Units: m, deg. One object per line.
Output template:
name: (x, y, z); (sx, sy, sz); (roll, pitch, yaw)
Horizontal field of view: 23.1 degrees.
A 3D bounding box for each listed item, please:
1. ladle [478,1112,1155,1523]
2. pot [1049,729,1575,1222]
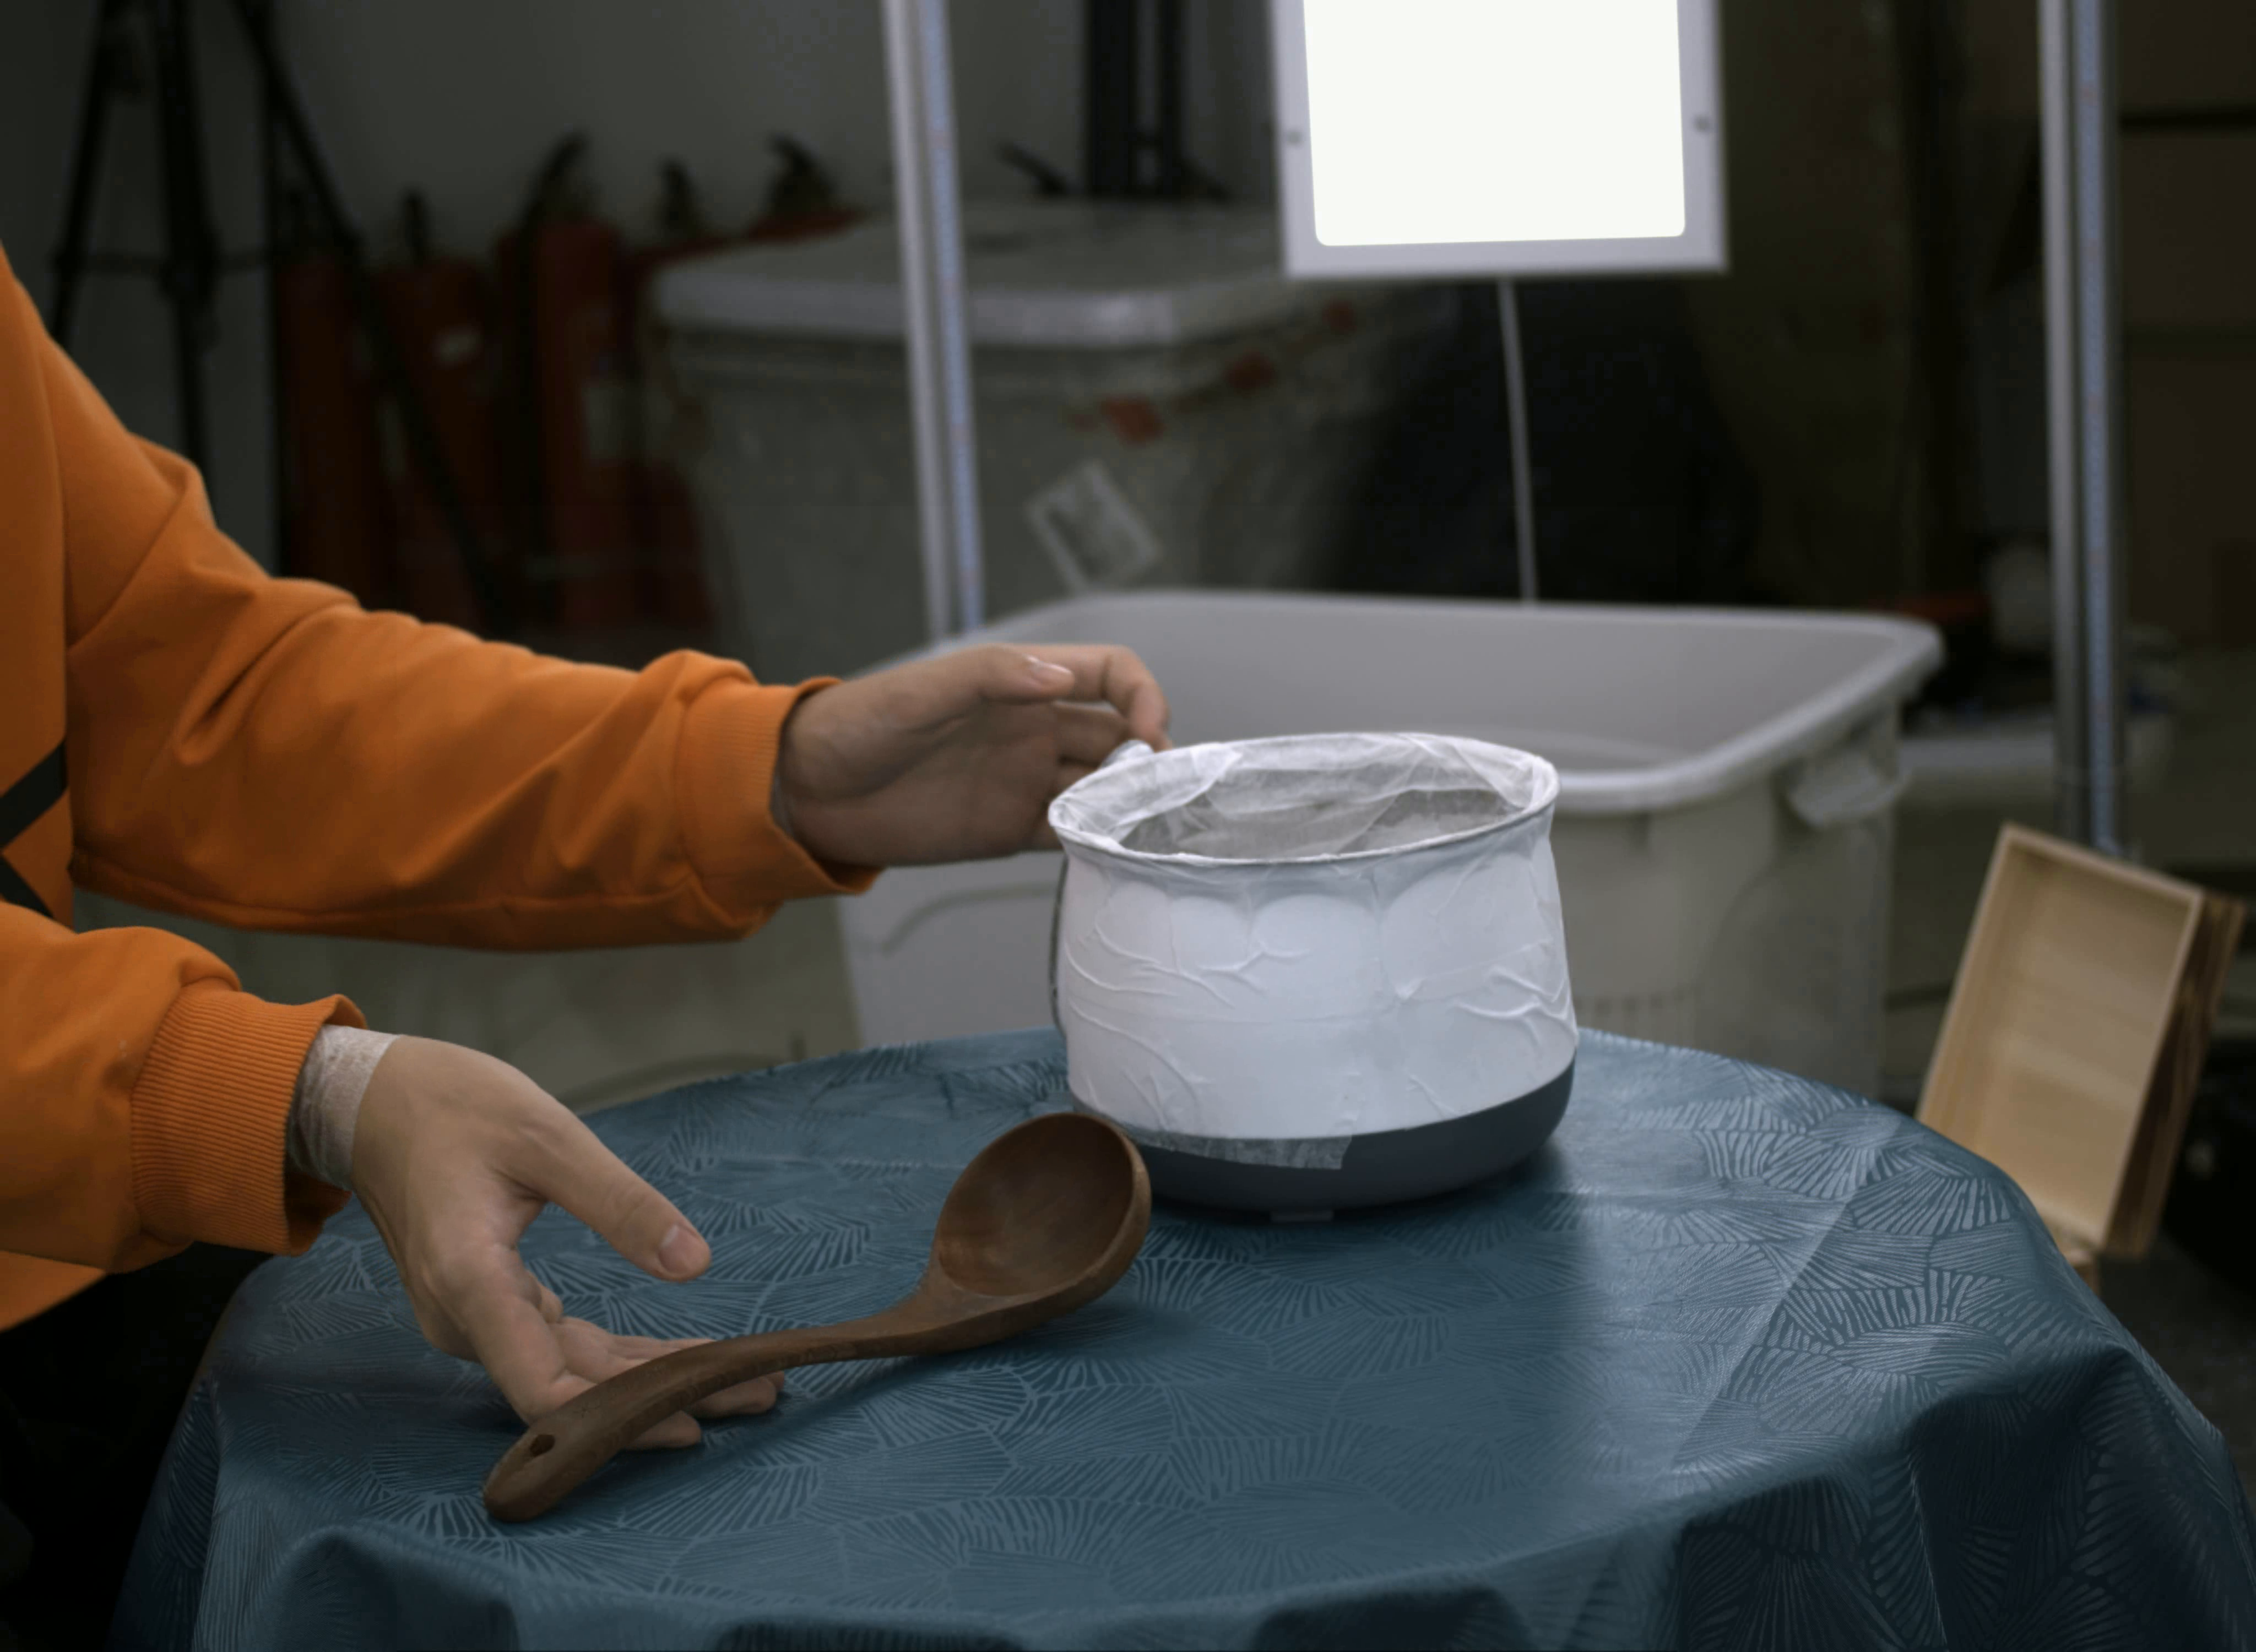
ladle: (-0.097, 0.149, 1.709); (0.253, 0.065, 0.078); (-16, 19, -39)
pot: (0.048, 0.045, 1.919); (0.174, 0.137, 0.238); (-14, 17, -34)
